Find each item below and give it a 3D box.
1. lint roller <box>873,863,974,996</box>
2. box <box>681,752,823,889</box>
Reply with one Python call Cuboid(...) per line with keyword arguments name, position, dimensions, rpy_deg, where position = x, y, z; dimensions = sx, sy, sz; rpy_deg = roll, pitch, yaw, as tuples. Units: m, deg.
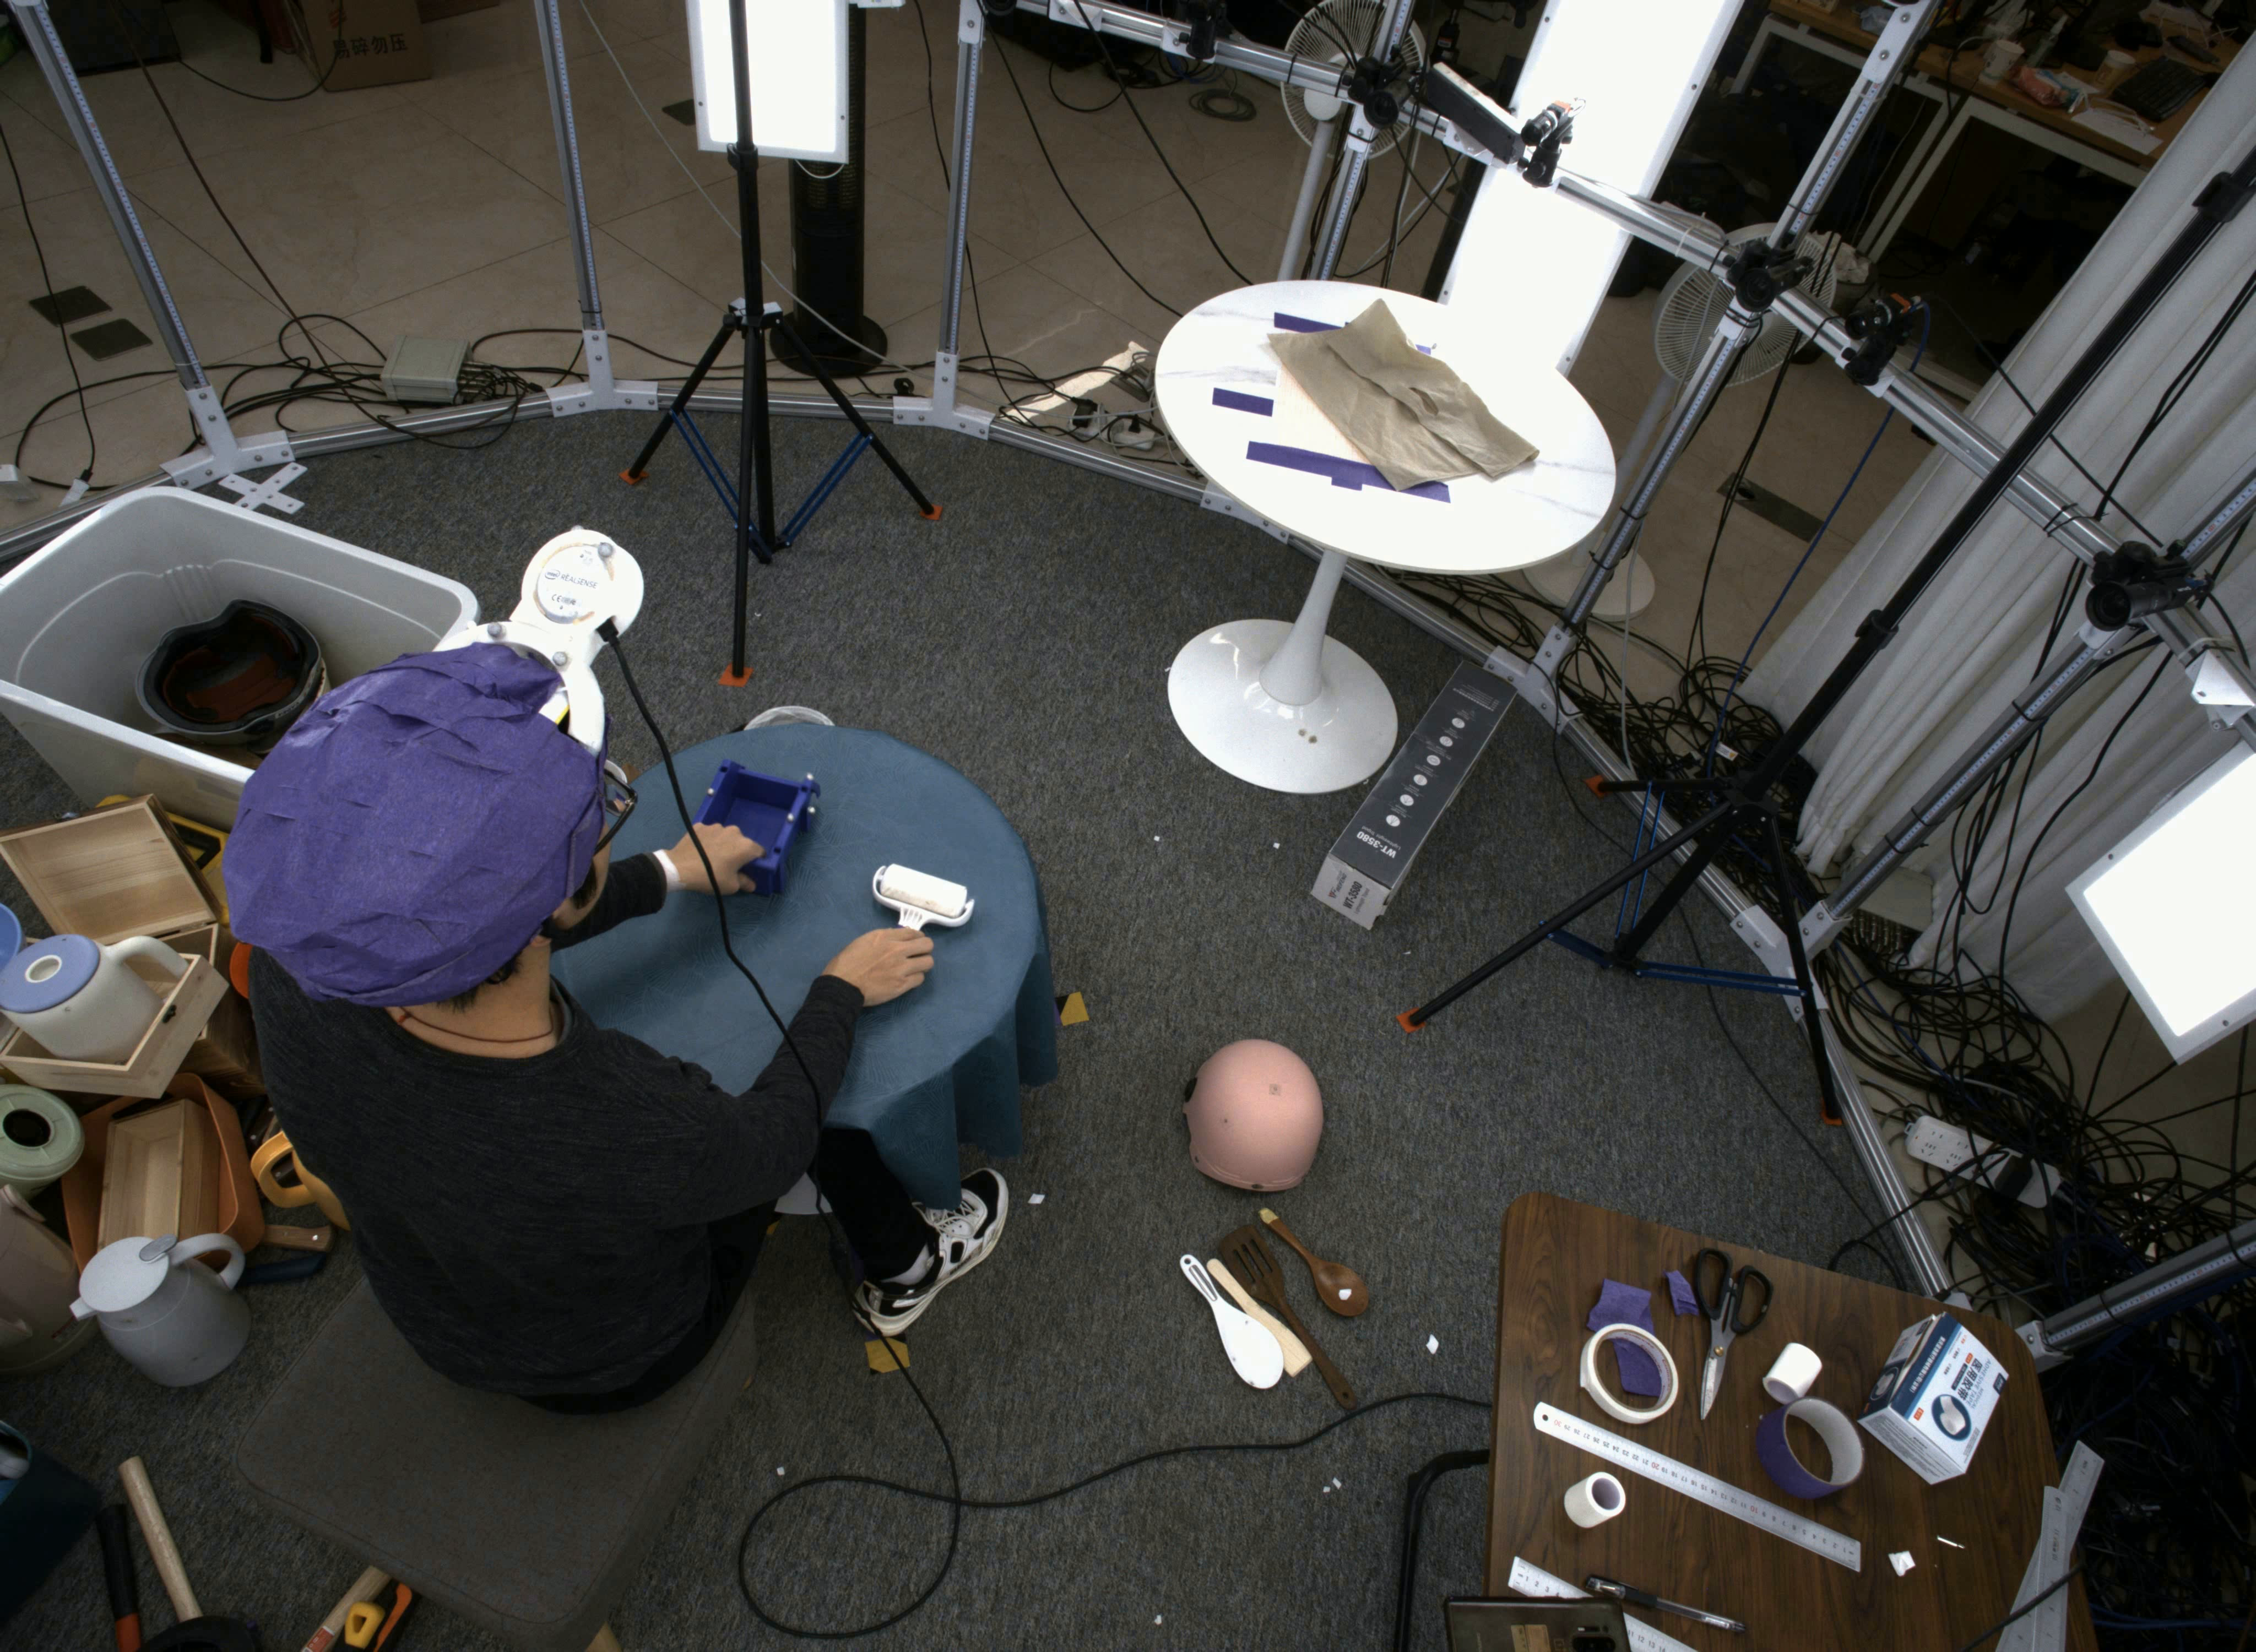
Cuboid(name="lint roller", position=(-0.278, 0.127, 1.626), dimensions=(0.132, 0.051, 0.179), rpy_deg=(20, 46, 0))
Cuboid(name="box", position=(-0.480, -0.015, 1.658), dimensions=(0.123, 0.084, 0.177), rpy_deg=(12, 53, -1))
